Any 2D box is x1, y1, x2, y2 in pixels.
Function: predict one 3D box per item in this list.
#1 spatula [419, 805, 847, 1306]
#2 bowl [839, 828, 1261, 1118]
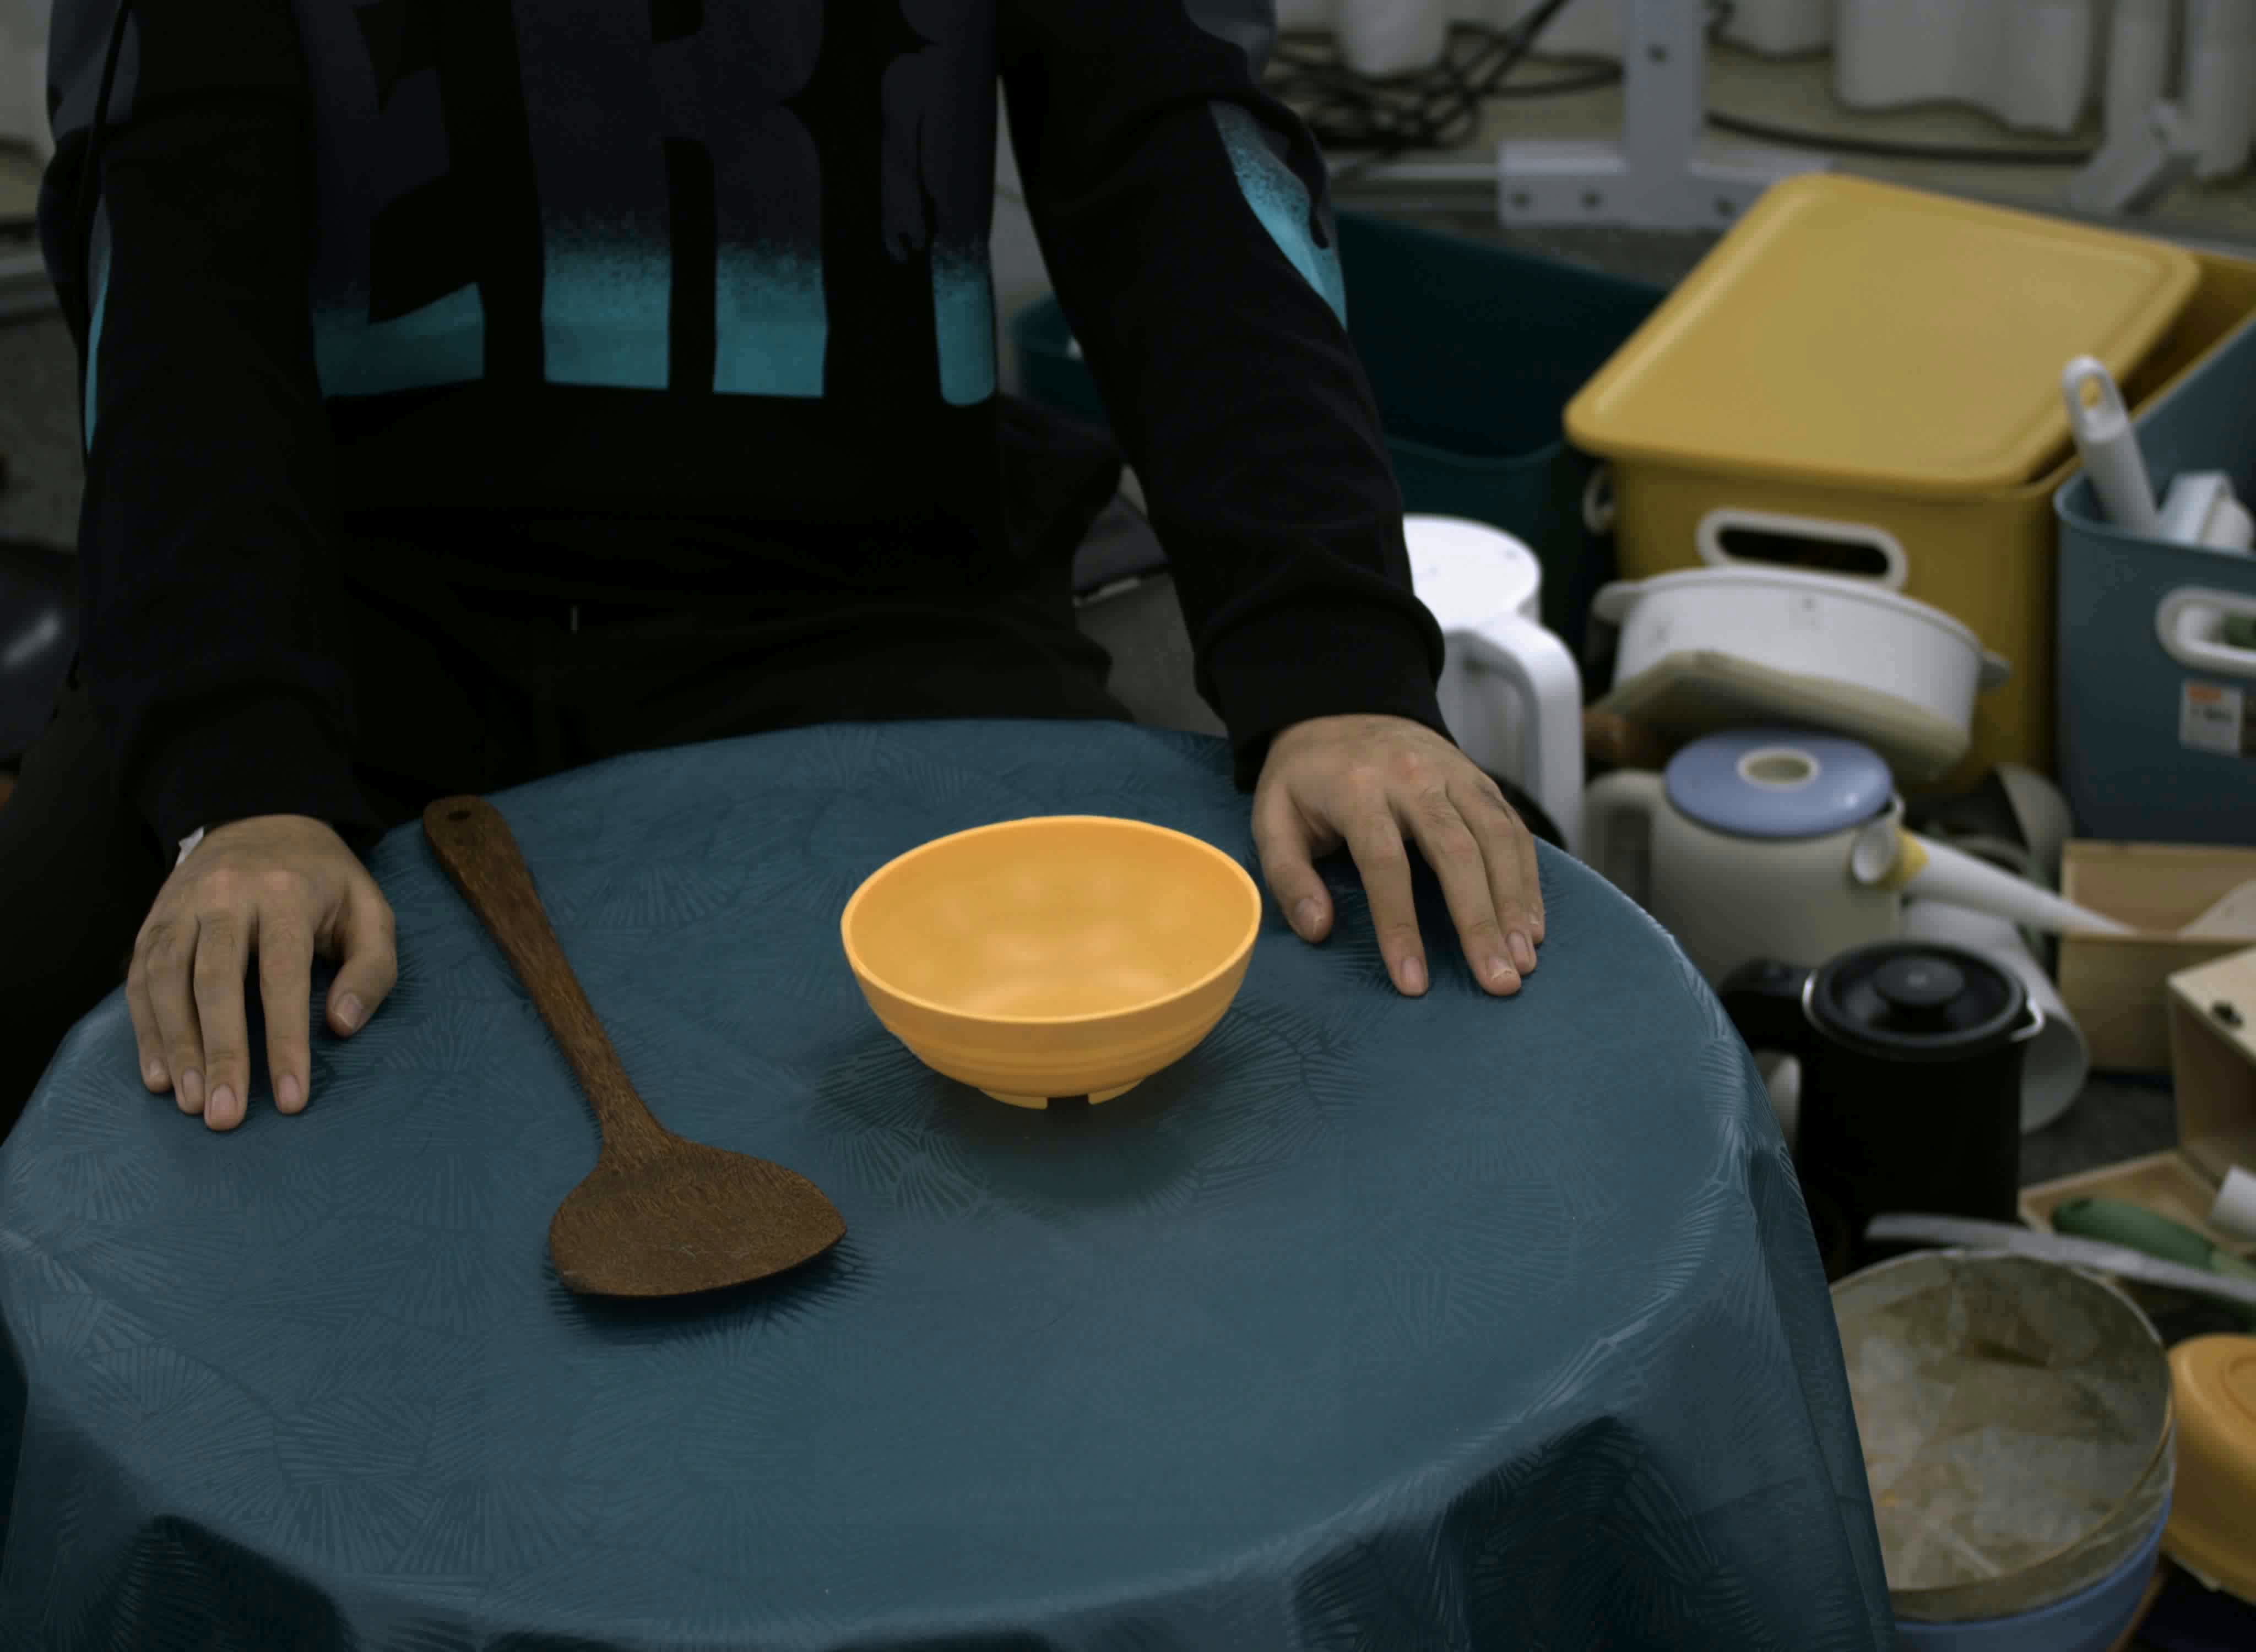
[{"bbox_3d":[-0.193,0.072,1.963,0.096,0.015,0.389,-11,28,-16],"label":"spatula"},{"bbox_3d":[-0.026,0.059,1.927,0.144,0.059,0.147,0,25,0],"label":"bowl"}]
